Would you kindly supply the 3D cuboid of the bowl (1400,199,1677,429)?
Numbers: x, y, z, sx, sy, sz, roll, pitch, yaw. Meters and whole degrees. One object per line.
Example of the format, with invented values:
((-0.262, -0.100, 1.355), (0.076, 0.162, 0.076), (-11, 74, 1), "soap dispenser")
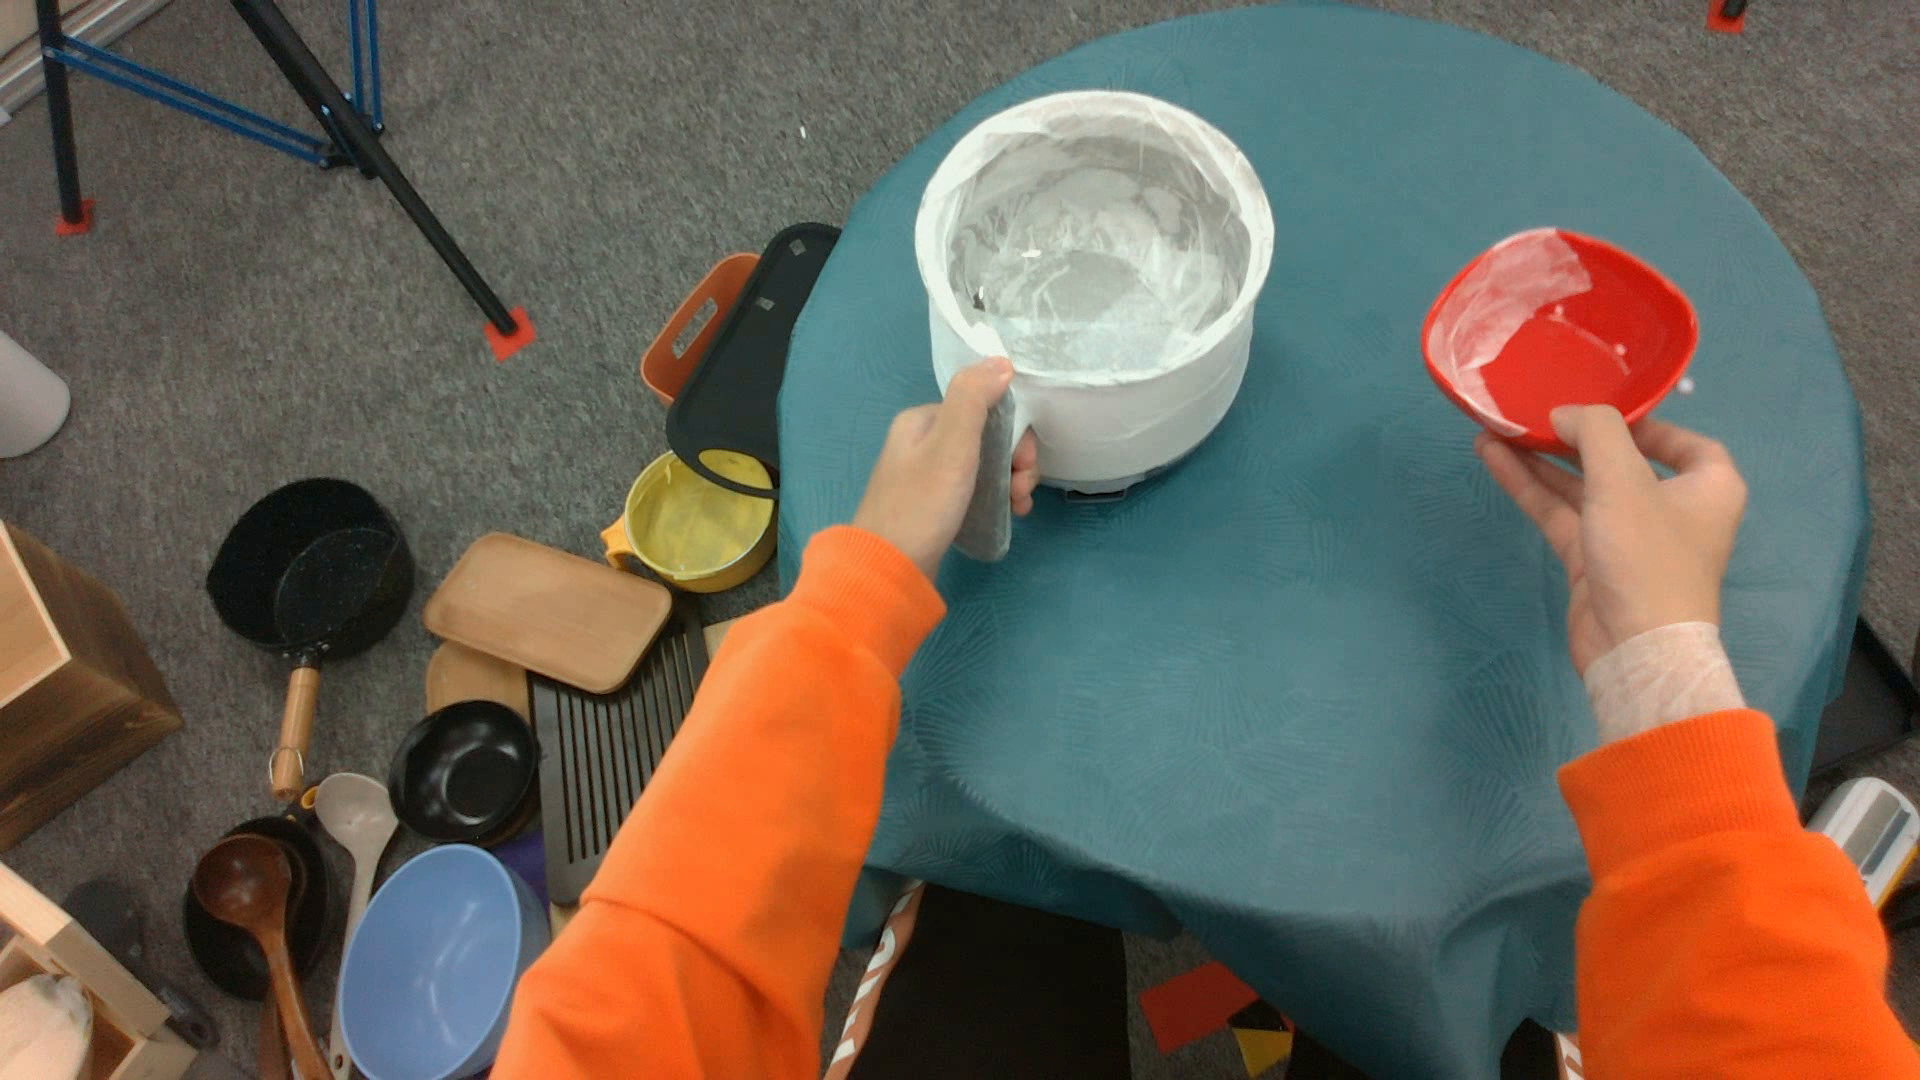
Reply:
((0.271, -0.099, 0.654), (0.119, 0.051, 0.119), (-6, 64, 13), "bowl")

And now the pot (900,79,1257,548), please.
((0.050, -0.111, 0.730), (0.178, 0.136, 0.234), (23, 69, 13), "pot")
